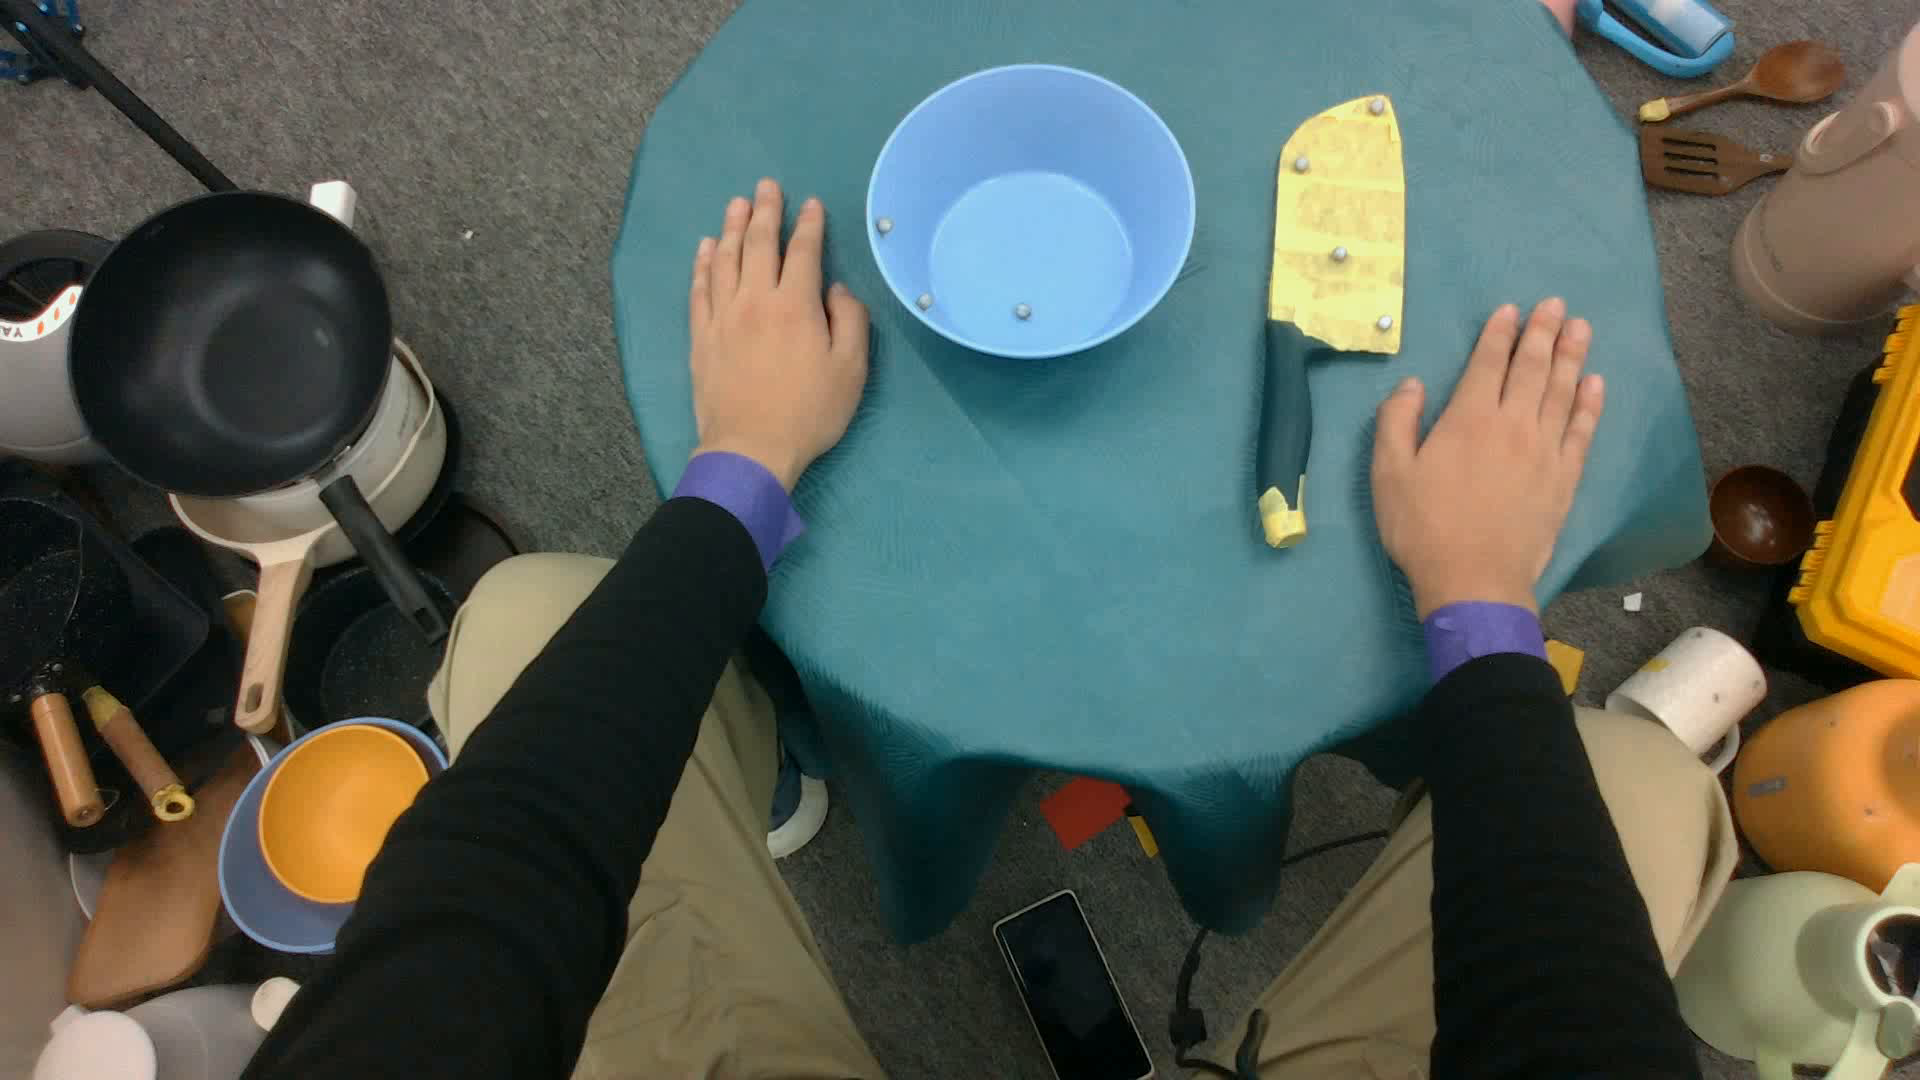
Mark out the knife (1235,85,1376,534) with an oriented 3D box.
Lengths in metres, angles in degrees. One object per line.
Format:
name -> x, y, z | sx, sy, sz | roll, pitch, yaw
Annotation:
knife -> 0.194, -0.138, 0.778 | 0.081, 0.027, 0.290 | 8, 71, 6

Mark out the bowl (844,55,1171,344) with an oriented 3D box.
bowl -> 0.026, -0.176, 0.768 | 0.176, 0.070, 0.176 | 0, 72, 1
